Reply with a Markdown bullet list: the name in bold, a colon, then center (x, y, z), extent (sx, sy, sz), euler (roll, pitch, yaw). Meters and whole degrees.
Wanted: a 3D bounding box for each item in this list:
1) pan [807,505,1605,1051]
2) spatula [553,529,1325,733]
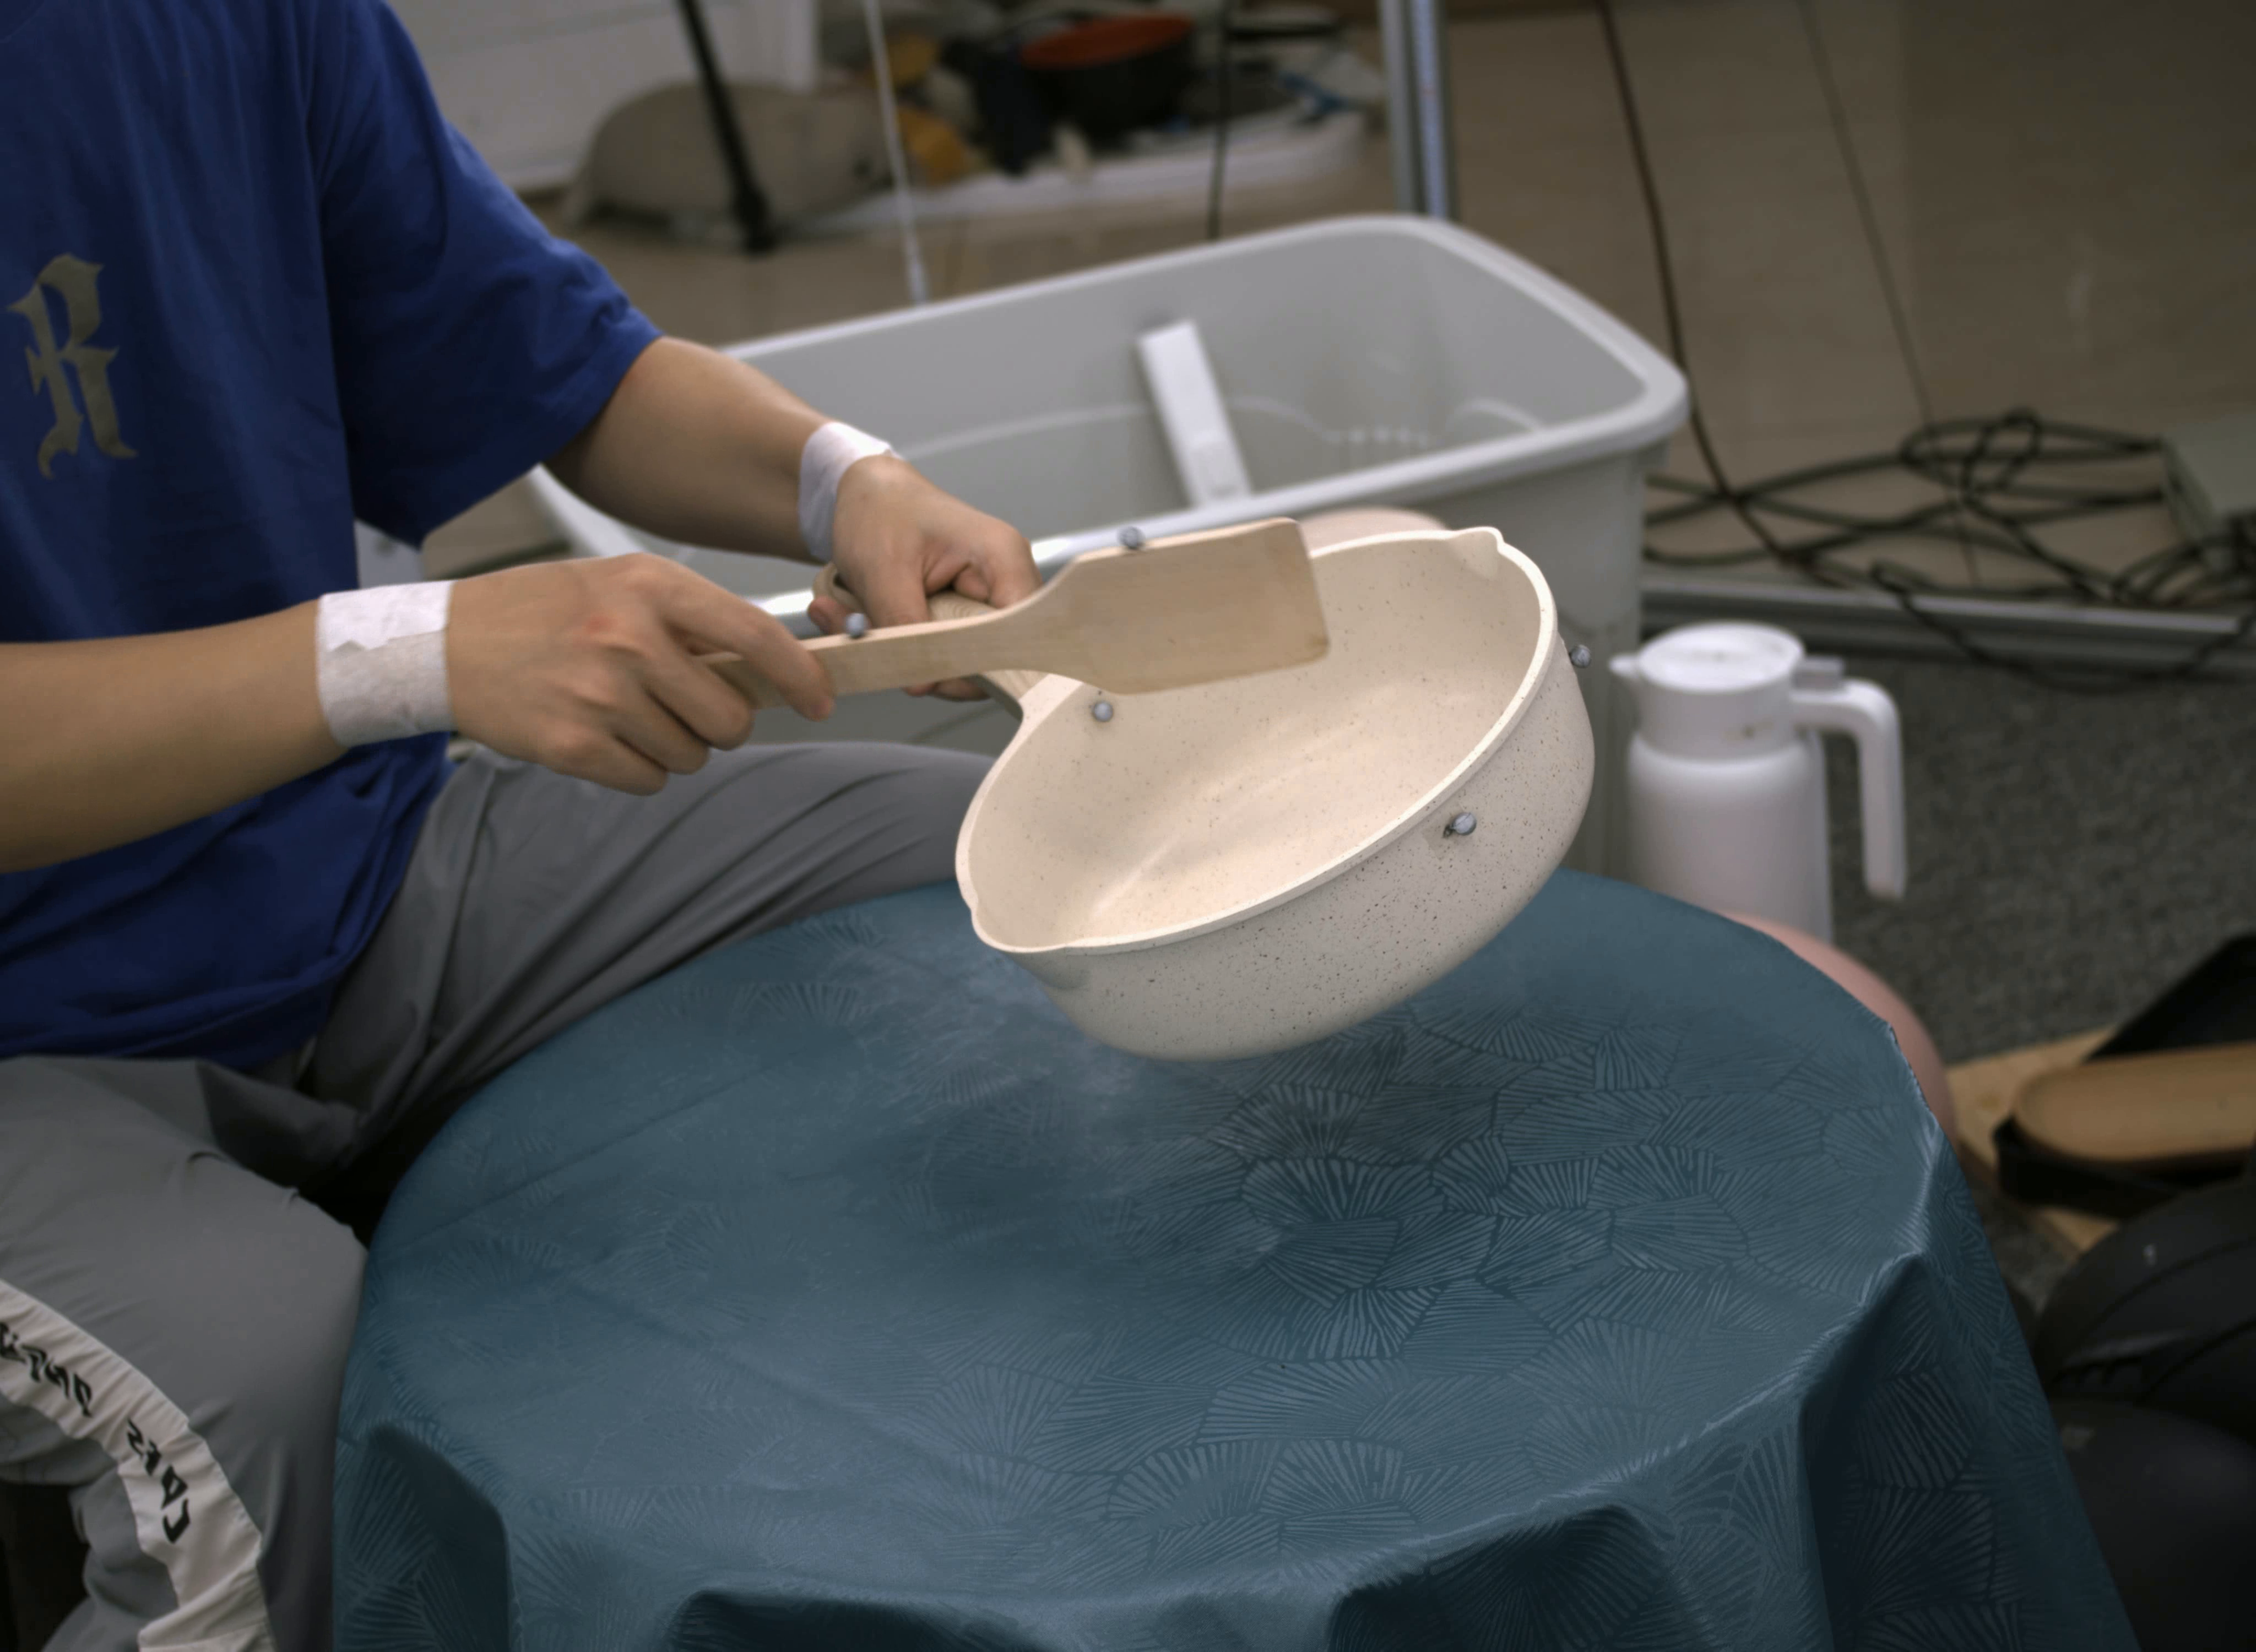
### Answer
- **pan**: center (0.014, -0.031, 2.226), extent (0.261, 0.103, 0.432), euler (-43, 30, -19)
- **spatula**: center (-0.074, -0.065, 2.123), extent (0.293, 0.073, 0.010), euler (-7, 43, 9)
